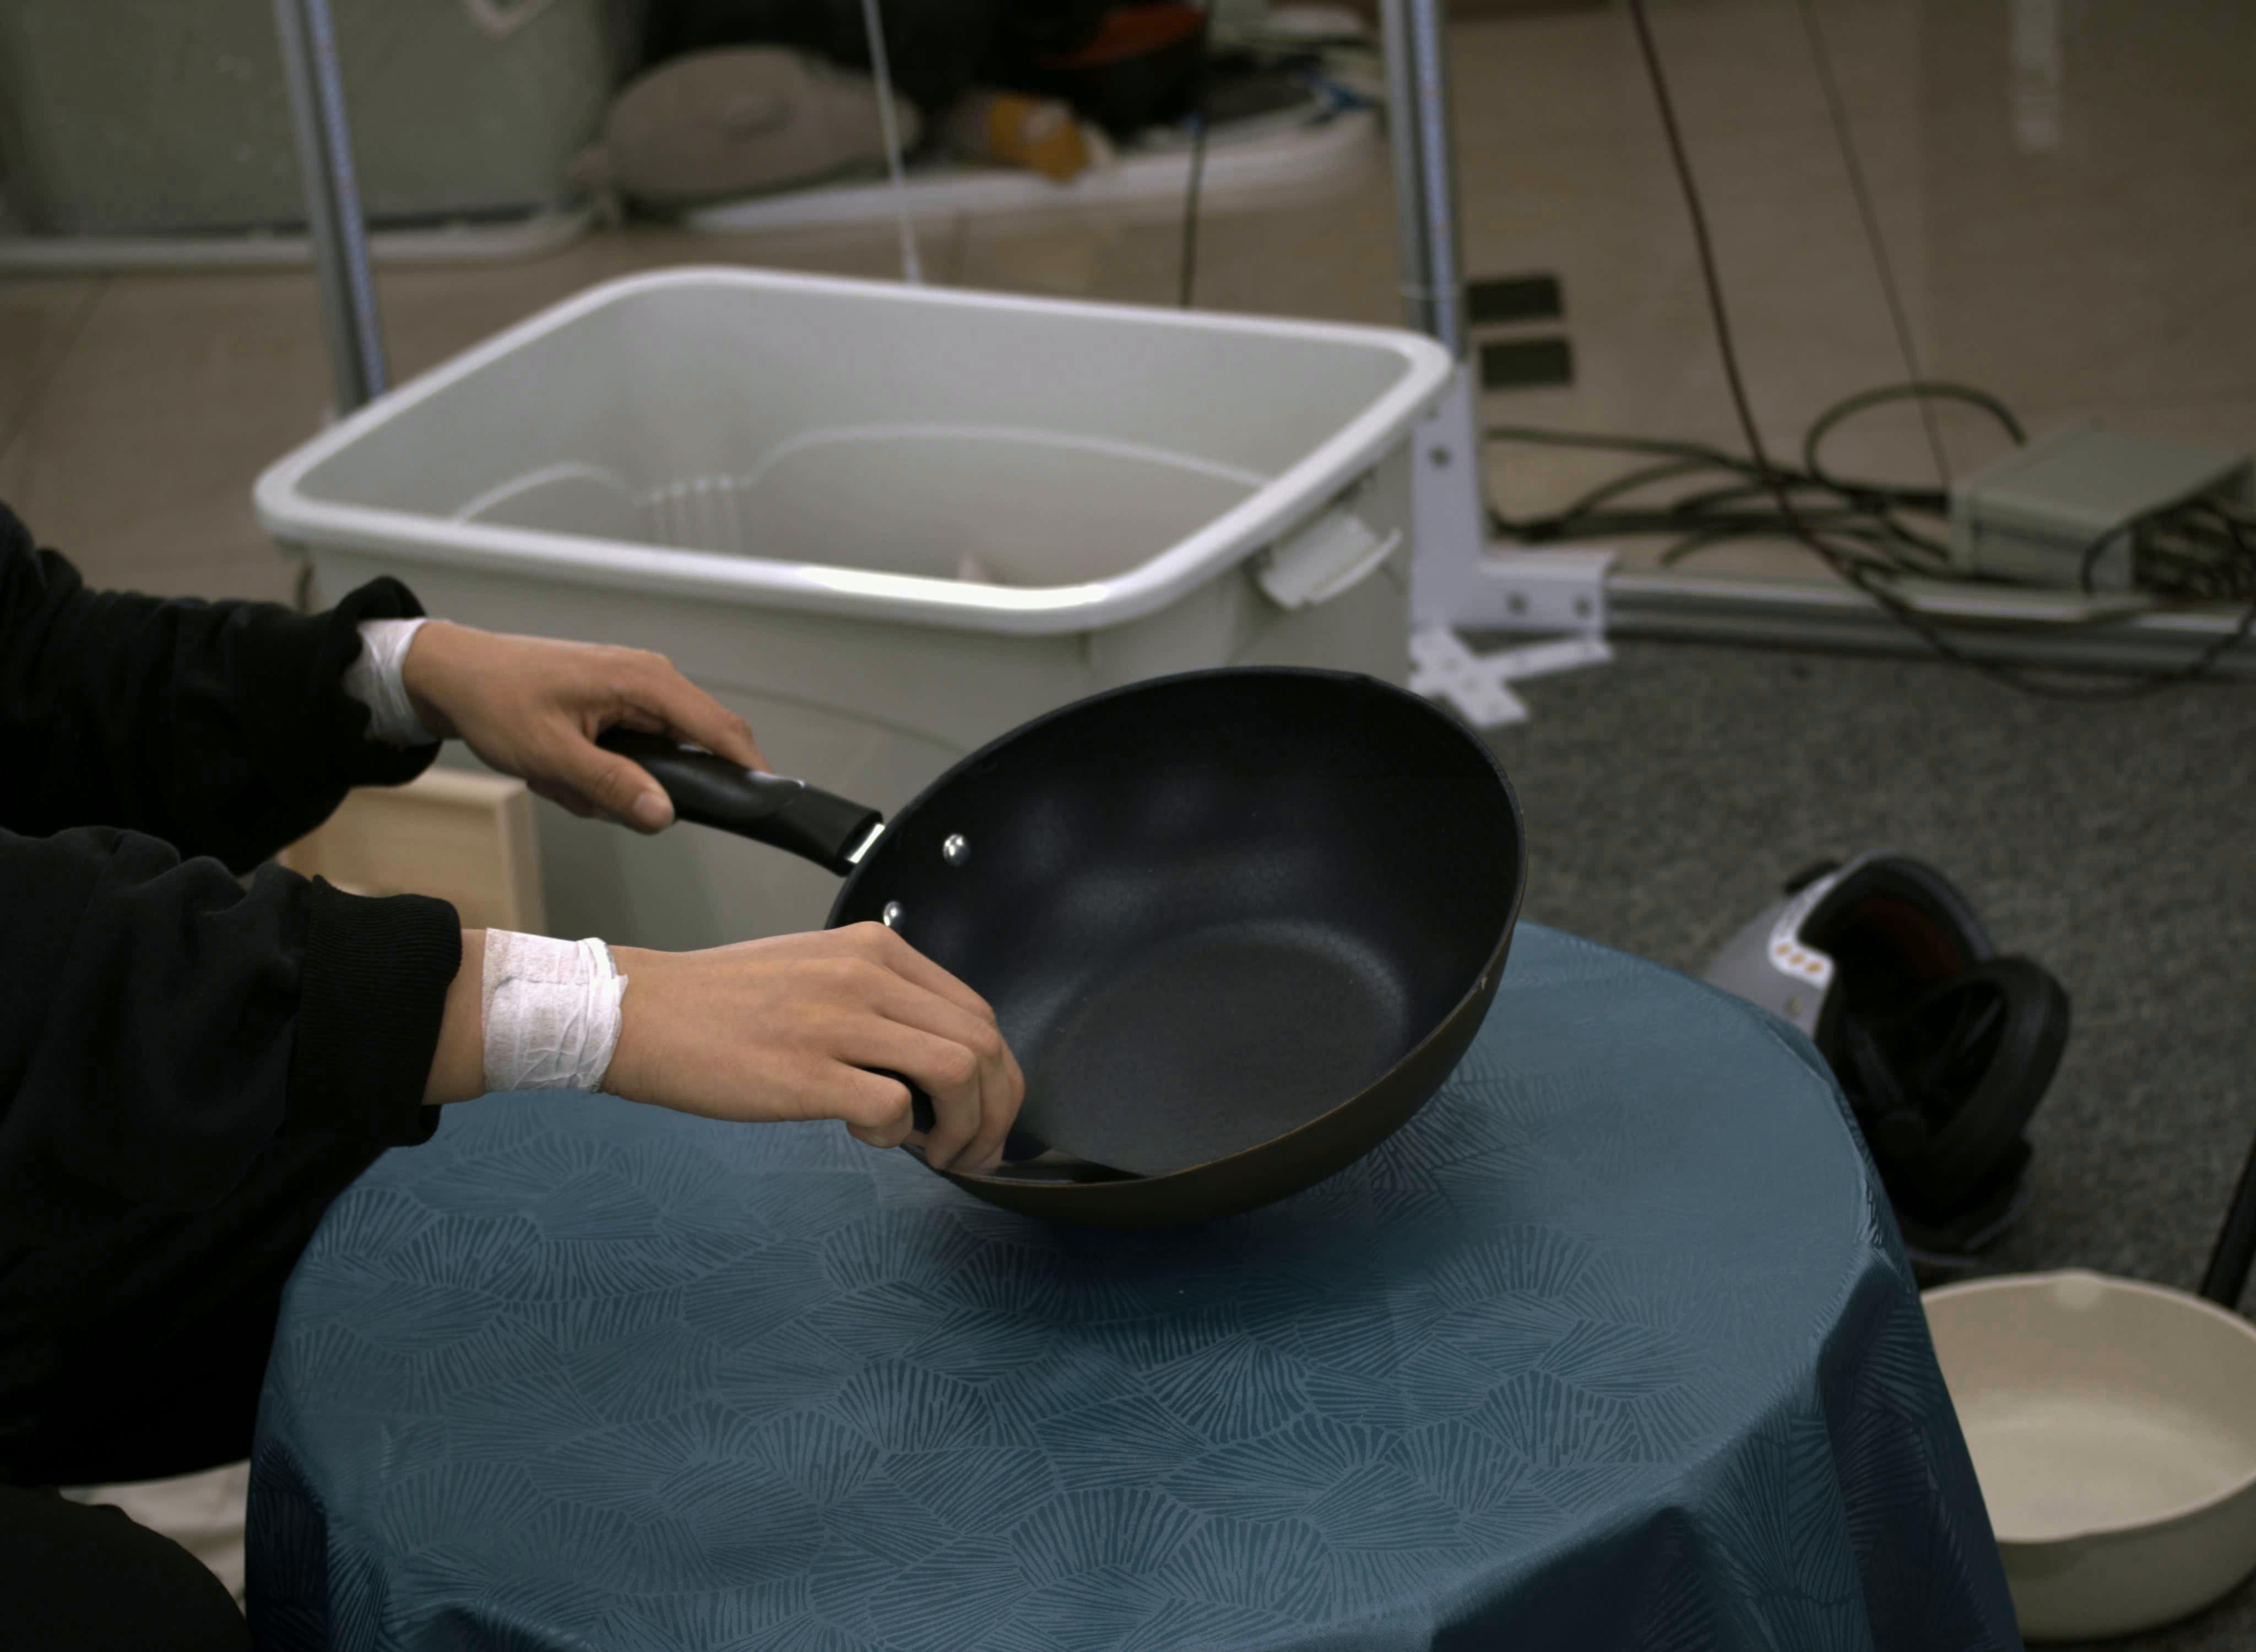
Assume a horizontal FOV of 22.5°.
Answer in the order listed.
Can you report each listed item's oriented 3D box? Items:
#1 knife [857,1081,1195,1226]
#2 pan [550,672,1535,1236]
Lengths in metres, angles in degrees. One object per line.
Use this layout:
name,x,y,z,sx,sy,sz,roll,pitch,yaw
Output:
knife,-0.030,0.119,2.017,0.026,0.017,0.227,-22,-24,25
pan,-0.046,0.042,2.213,0.460,0.088,0.284,15,51,35
